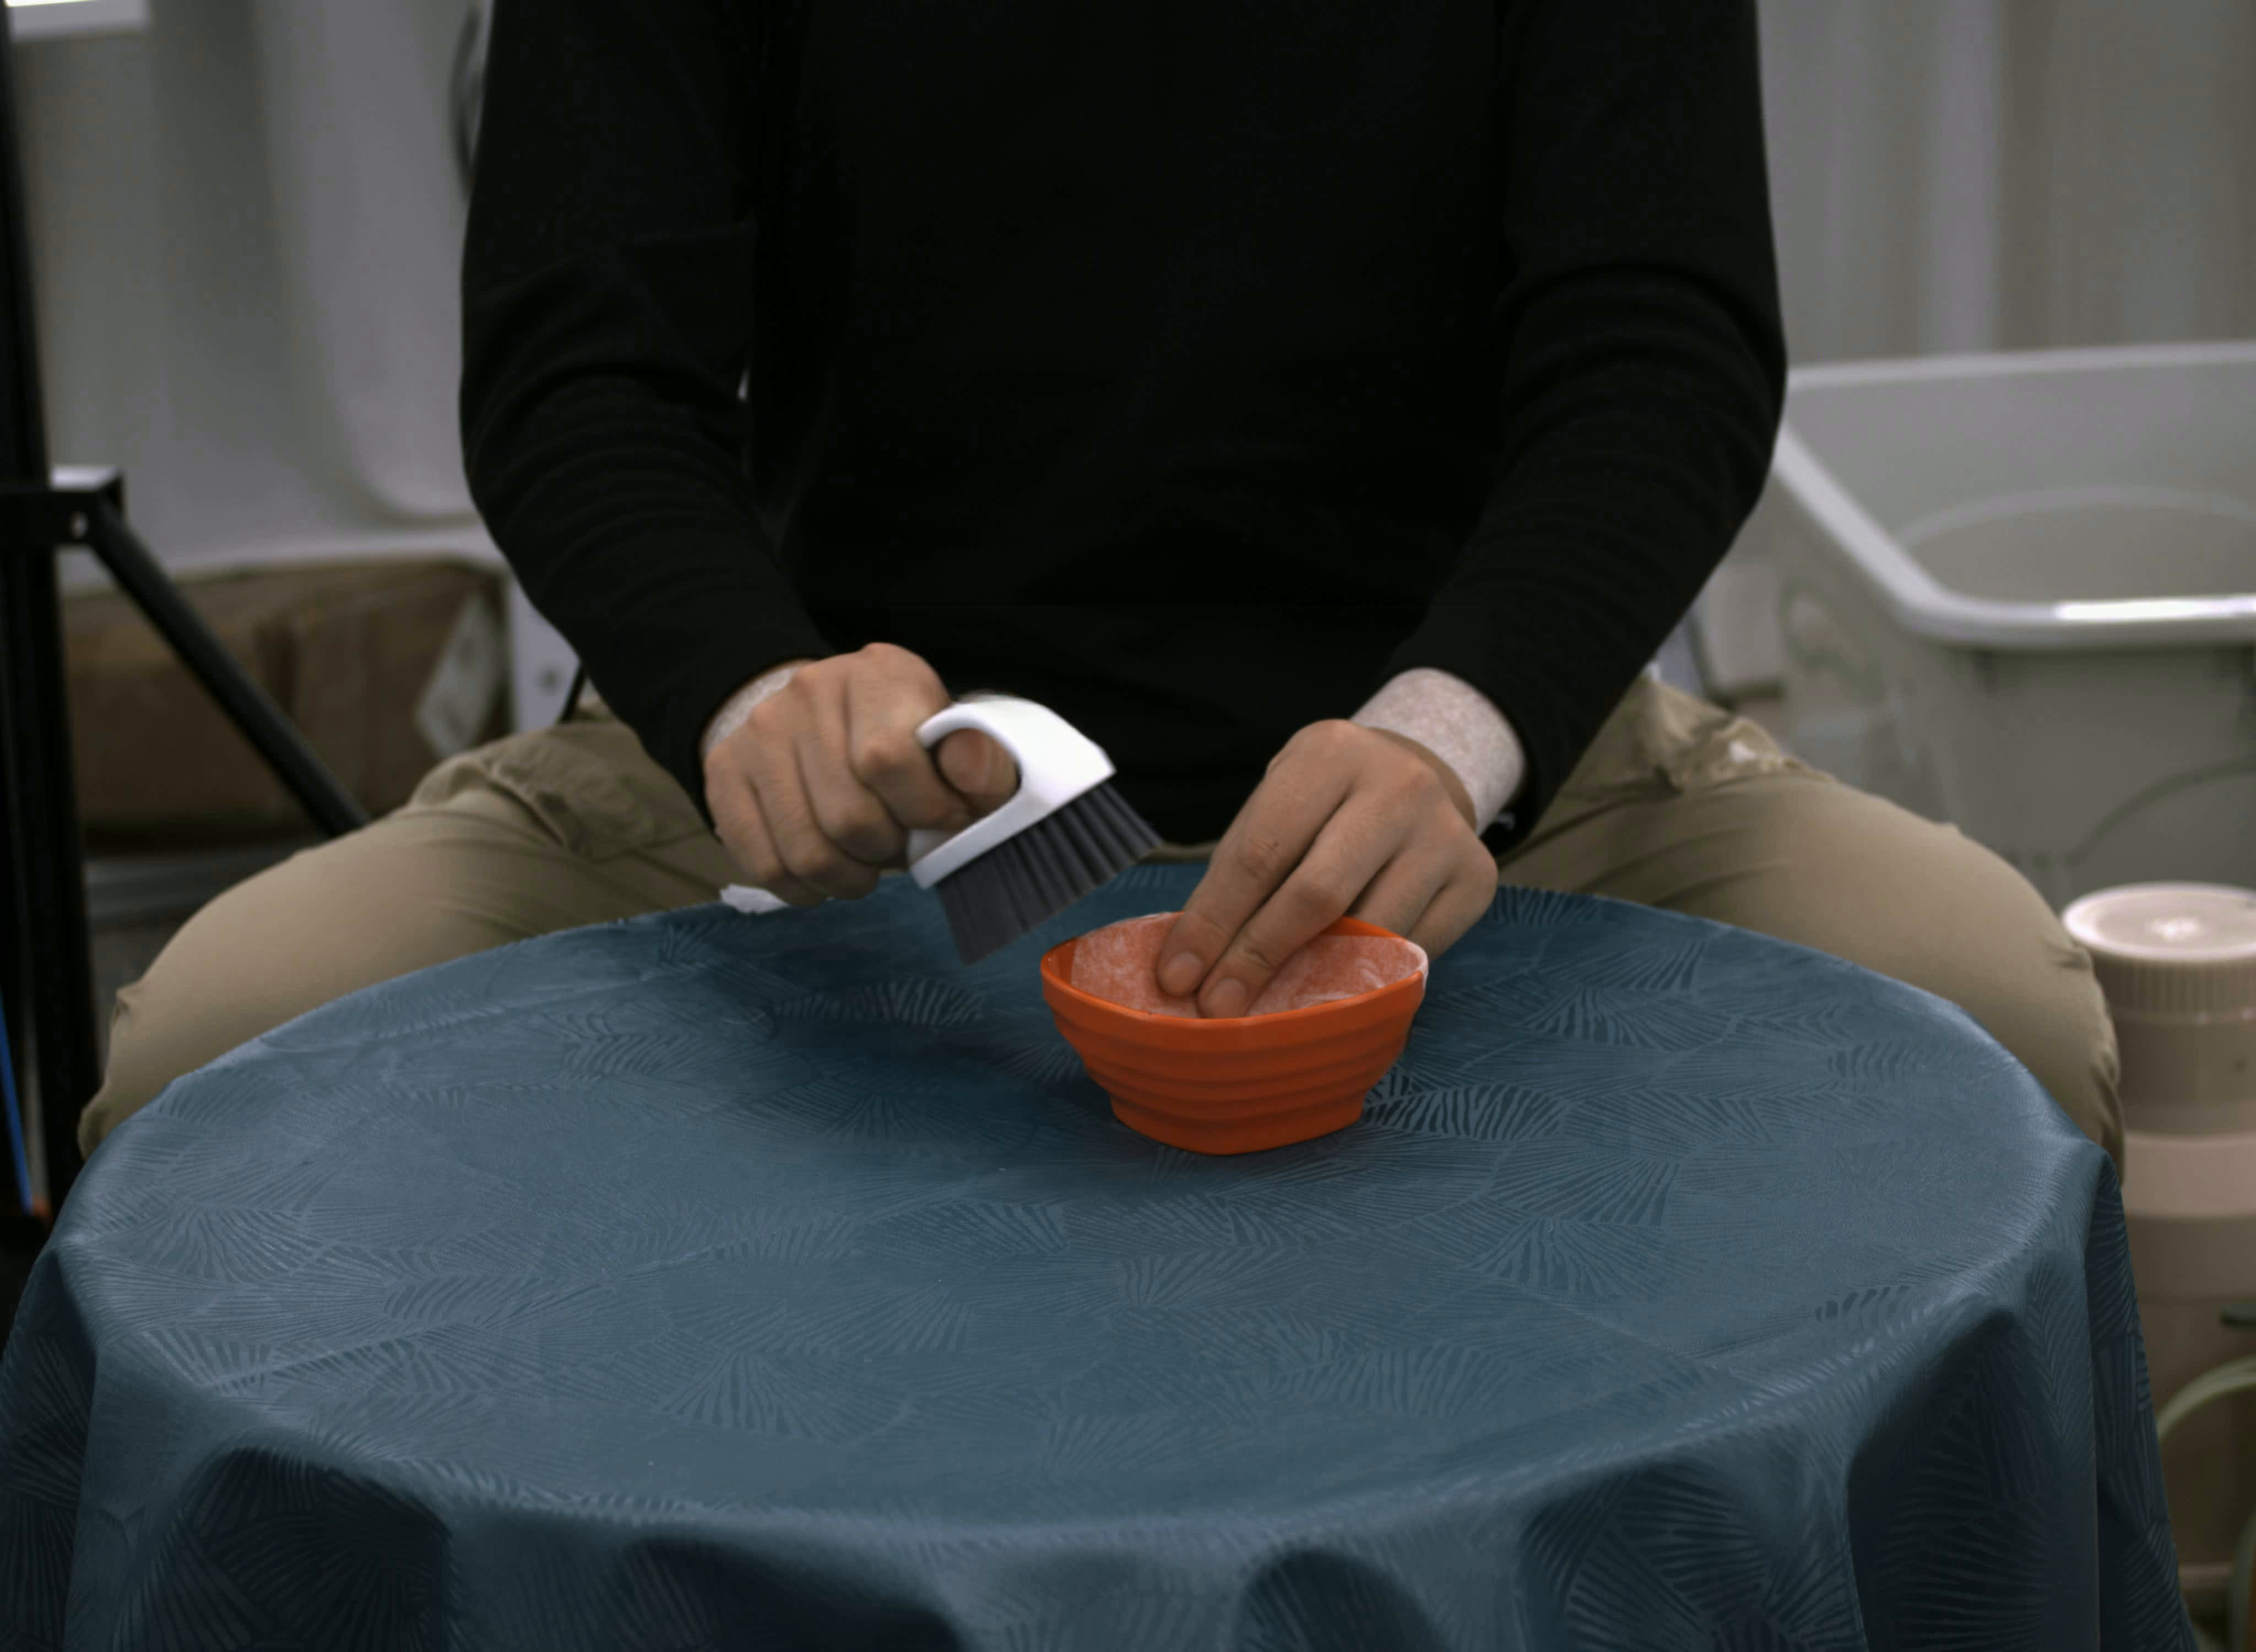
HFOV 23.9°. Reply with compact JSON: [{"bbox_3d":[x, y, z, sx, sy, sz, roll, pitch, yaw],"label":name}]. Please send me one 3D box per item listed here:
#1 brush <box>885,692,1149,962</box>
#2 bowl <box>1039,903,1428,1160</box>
[{"bbox_3d":[-0.043,-0.005,1.650,0.049,0.072,0.100,-34,0,-26],"label":"brush"},{"bbox_3d":[0.032,0.064,1.613,0.118,0.051,0.119,-2,17,-1],"label":"bowl"}]
